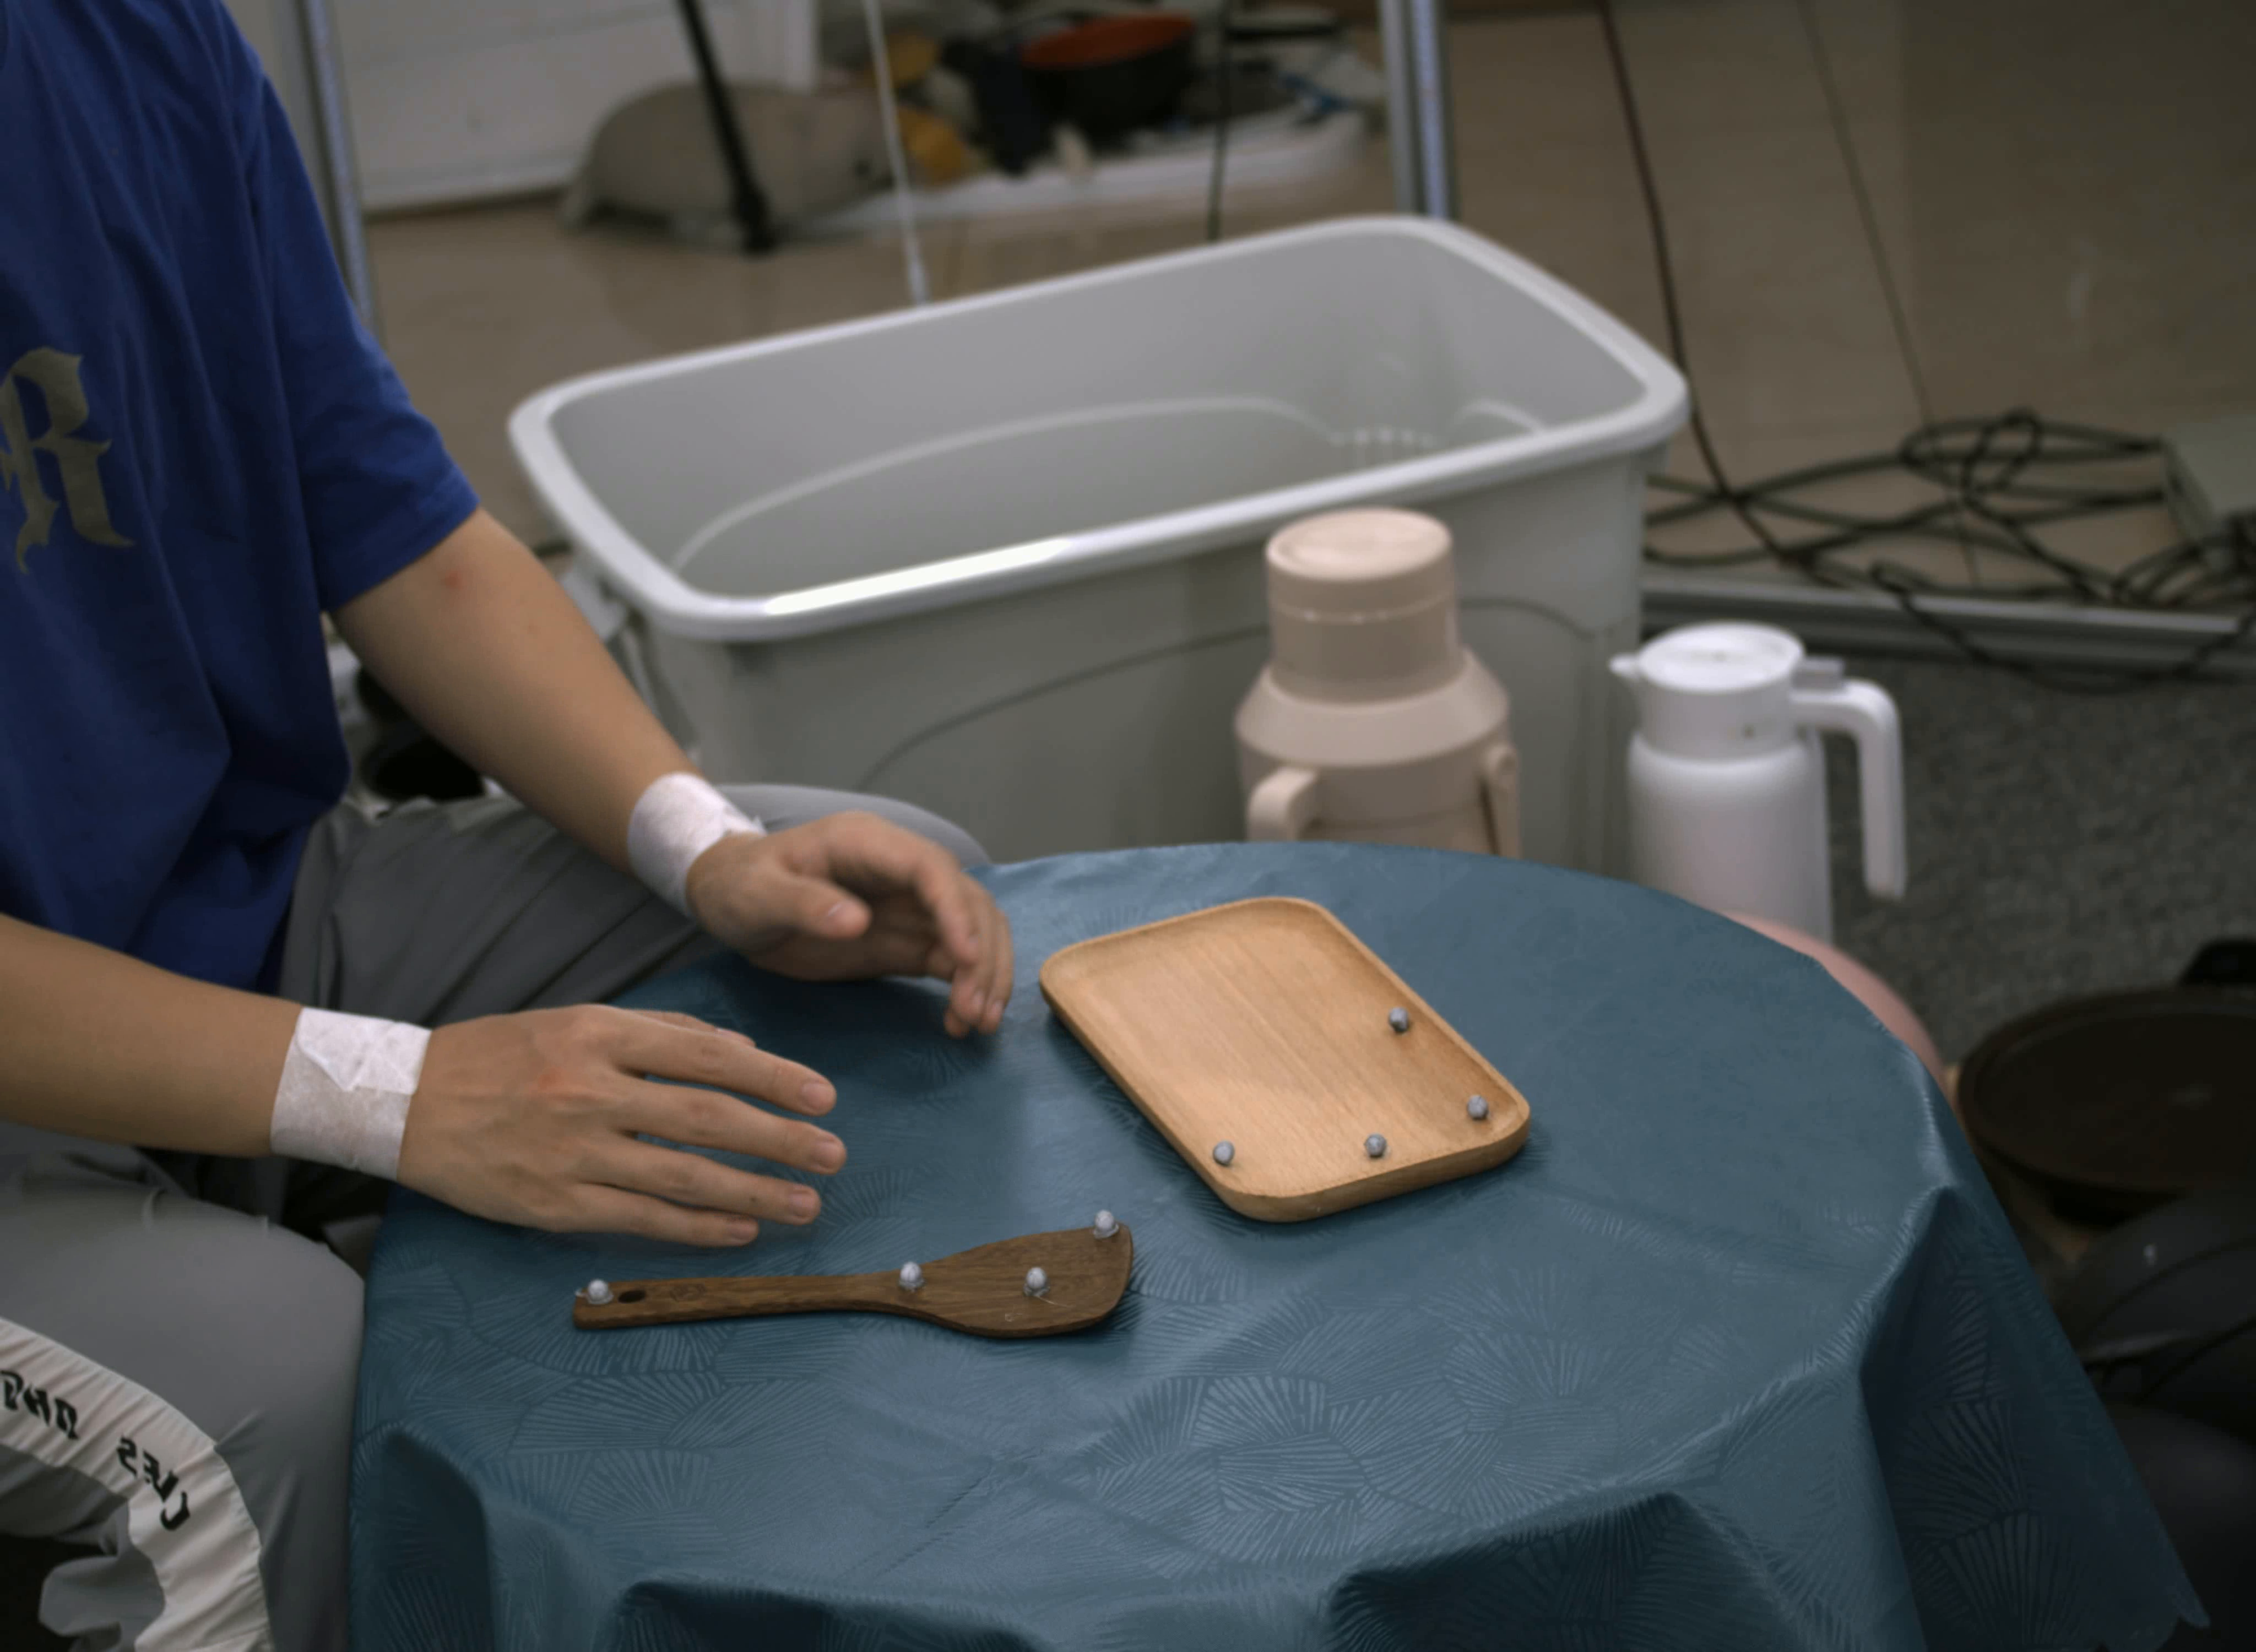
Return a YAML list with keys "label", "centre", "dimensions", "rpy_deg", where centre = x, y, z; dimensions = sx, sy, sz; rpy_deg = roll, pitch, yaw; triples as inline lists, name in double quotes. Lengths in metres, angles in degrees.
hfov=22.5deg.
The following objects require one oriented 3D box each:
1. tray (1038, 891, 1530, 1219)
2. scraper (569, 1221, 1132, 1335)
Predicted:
- label: "tray"
  centre: [0.058, 0.088, 2.222]
  dimensions: [0.130, 0.023, 0.247]
  rpy_deg: [-12, 24, -16]
- label: "scraper"
  centre: [-0.103, 0.171, 2.092]
  dimensions: [0.211, 0.011, 0.075]
  rpy_deg: [-4, 24, 8]
